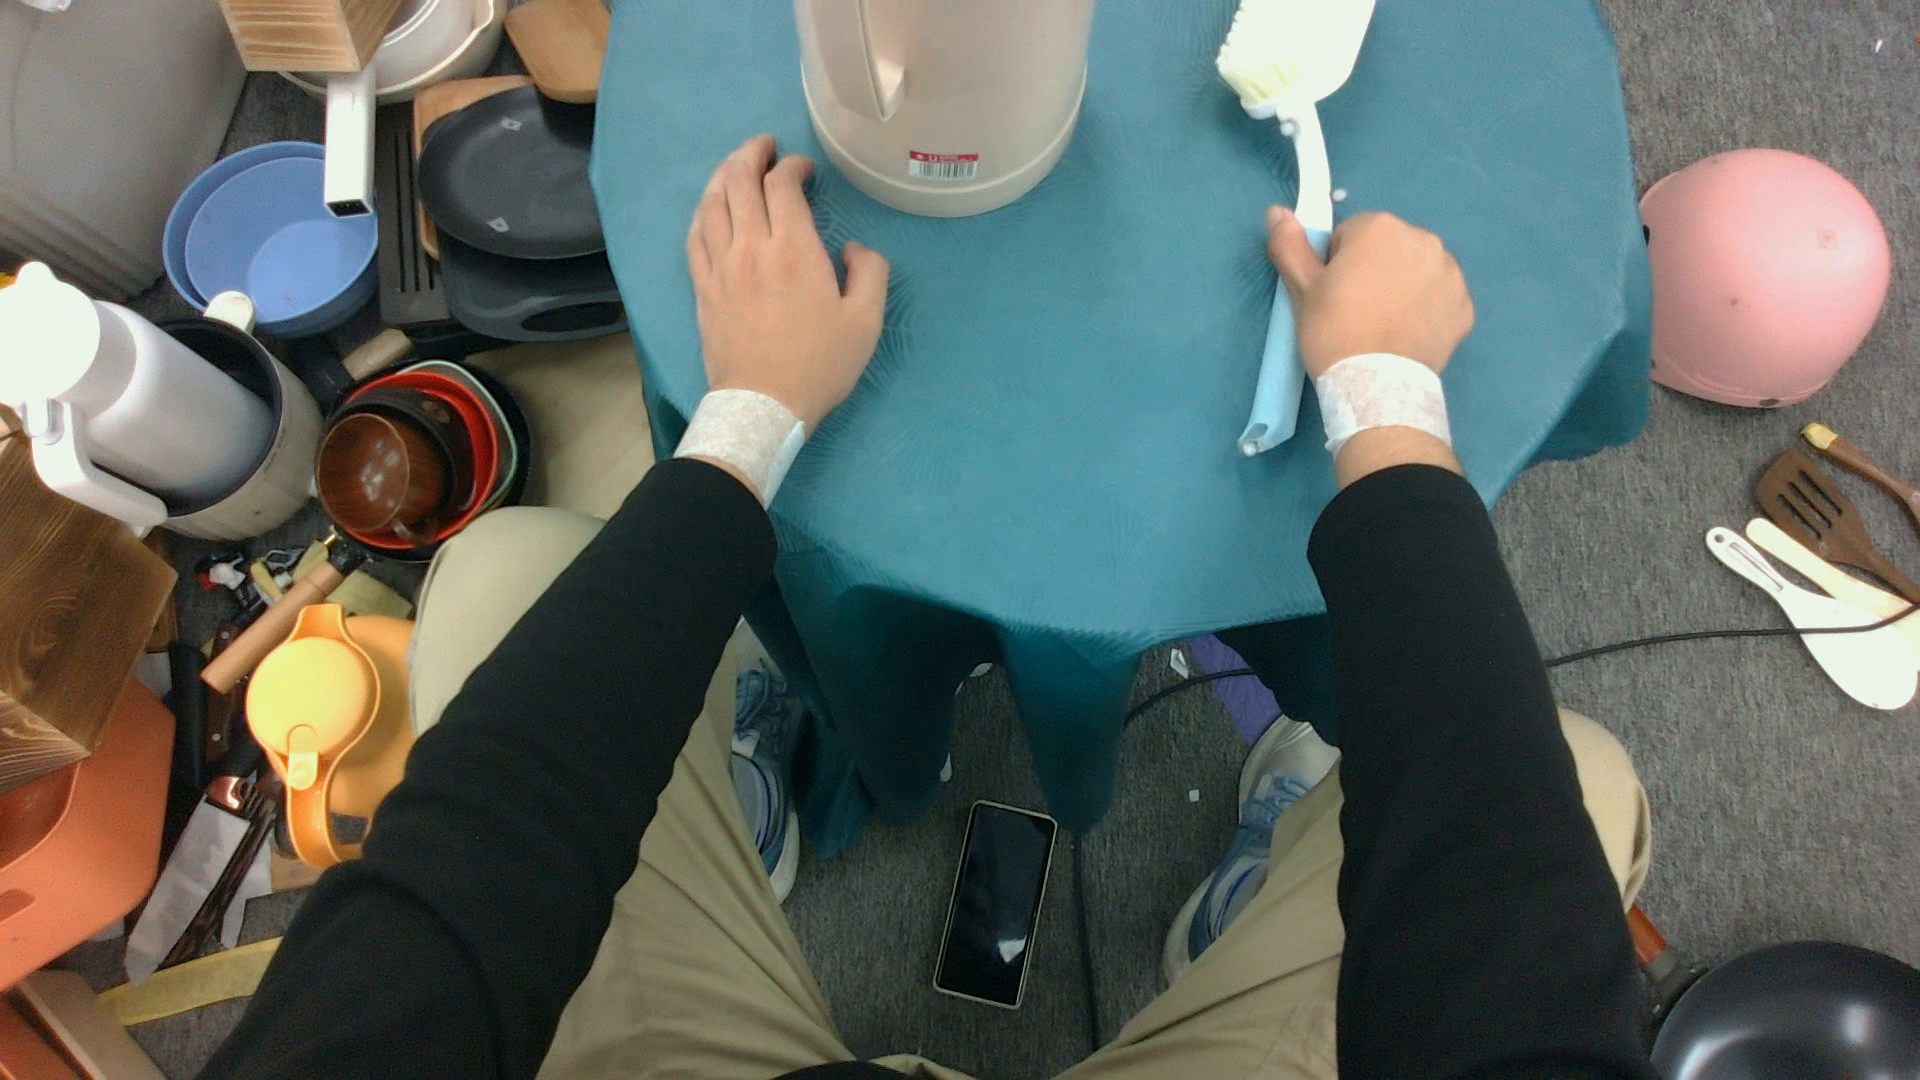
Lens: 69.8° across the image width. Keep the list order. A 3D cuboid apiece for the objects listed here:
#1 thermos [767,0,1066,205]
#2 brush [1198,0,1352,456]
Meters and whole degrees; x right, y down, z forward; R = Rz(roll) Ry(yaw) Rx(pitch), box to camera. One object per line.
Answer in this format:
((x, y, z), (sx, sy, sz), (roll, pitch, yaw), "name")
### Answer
((-0.024, -0.298, 0.606), (0.175, 0.405, 0.207), (22, 77, 2), "thermos")
((0.164, -0.207, 0.754), (0.084, 0.083, 0.326), (13, 76, -2), "brush")
